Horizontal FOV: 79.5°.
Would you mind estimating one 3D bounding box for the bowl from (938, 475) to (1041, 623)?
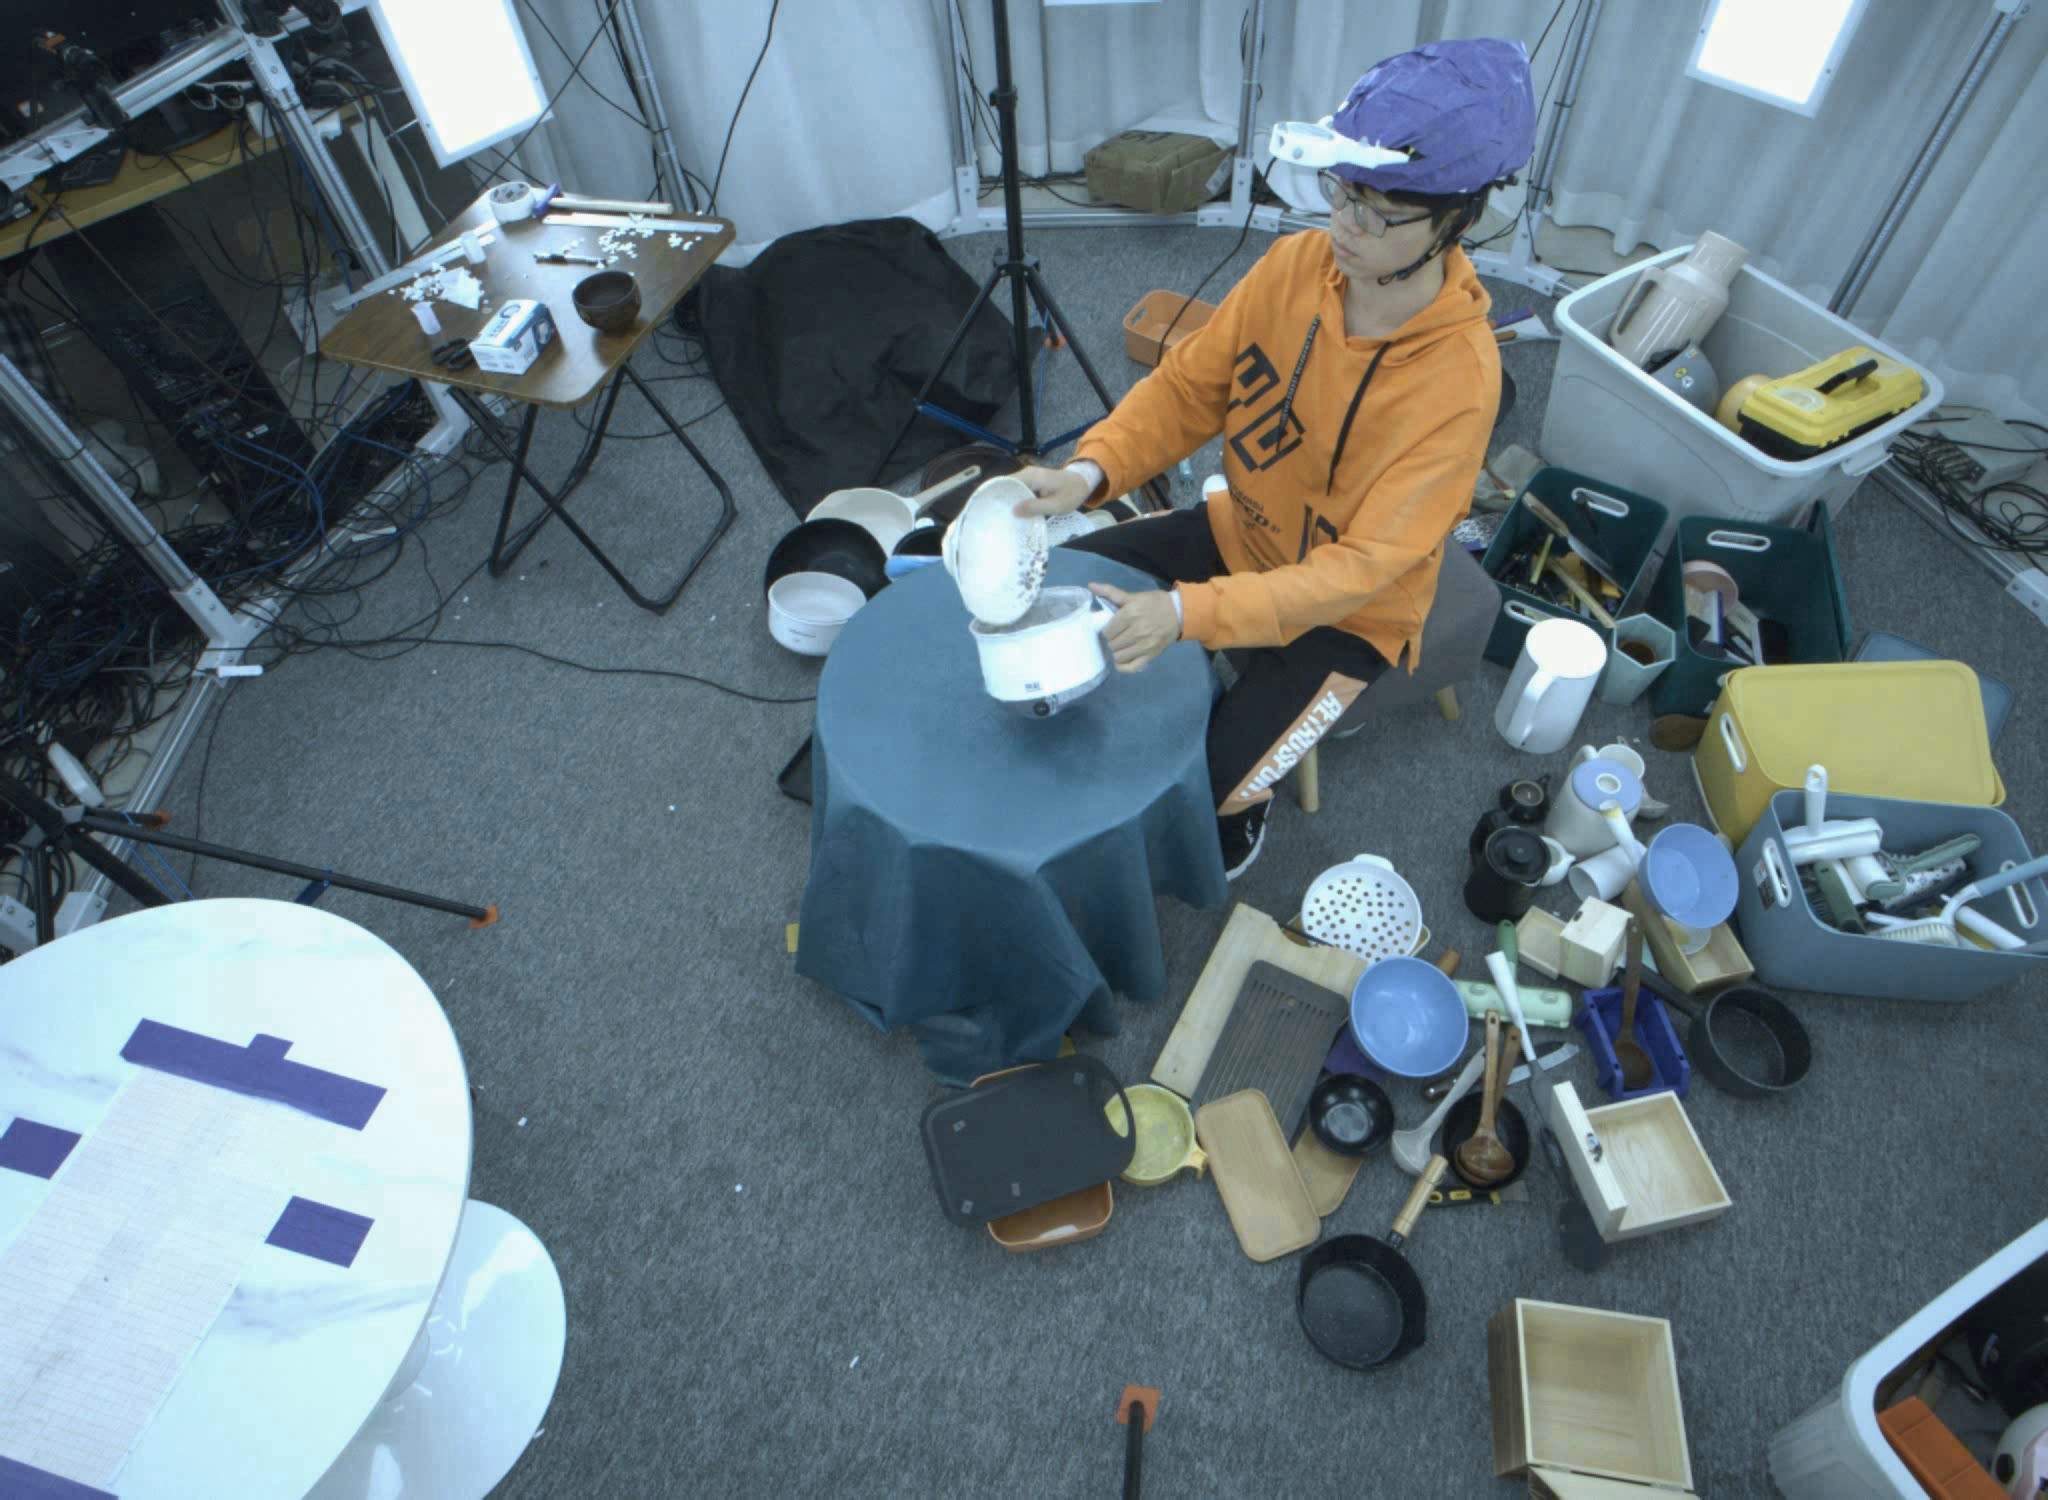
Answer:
[{"bbox_3d":[-0.063,-0.279,1.693,0.076,0.208,0.204,9,54,32],"label":"bowl"}]

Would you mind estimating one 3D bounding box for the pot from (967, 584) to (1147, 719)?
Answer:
[{"bbox_3d":[0.049,-0.145,1.724,0.232,0.138,0.178,-11,26,12],"label":"pot"}]
